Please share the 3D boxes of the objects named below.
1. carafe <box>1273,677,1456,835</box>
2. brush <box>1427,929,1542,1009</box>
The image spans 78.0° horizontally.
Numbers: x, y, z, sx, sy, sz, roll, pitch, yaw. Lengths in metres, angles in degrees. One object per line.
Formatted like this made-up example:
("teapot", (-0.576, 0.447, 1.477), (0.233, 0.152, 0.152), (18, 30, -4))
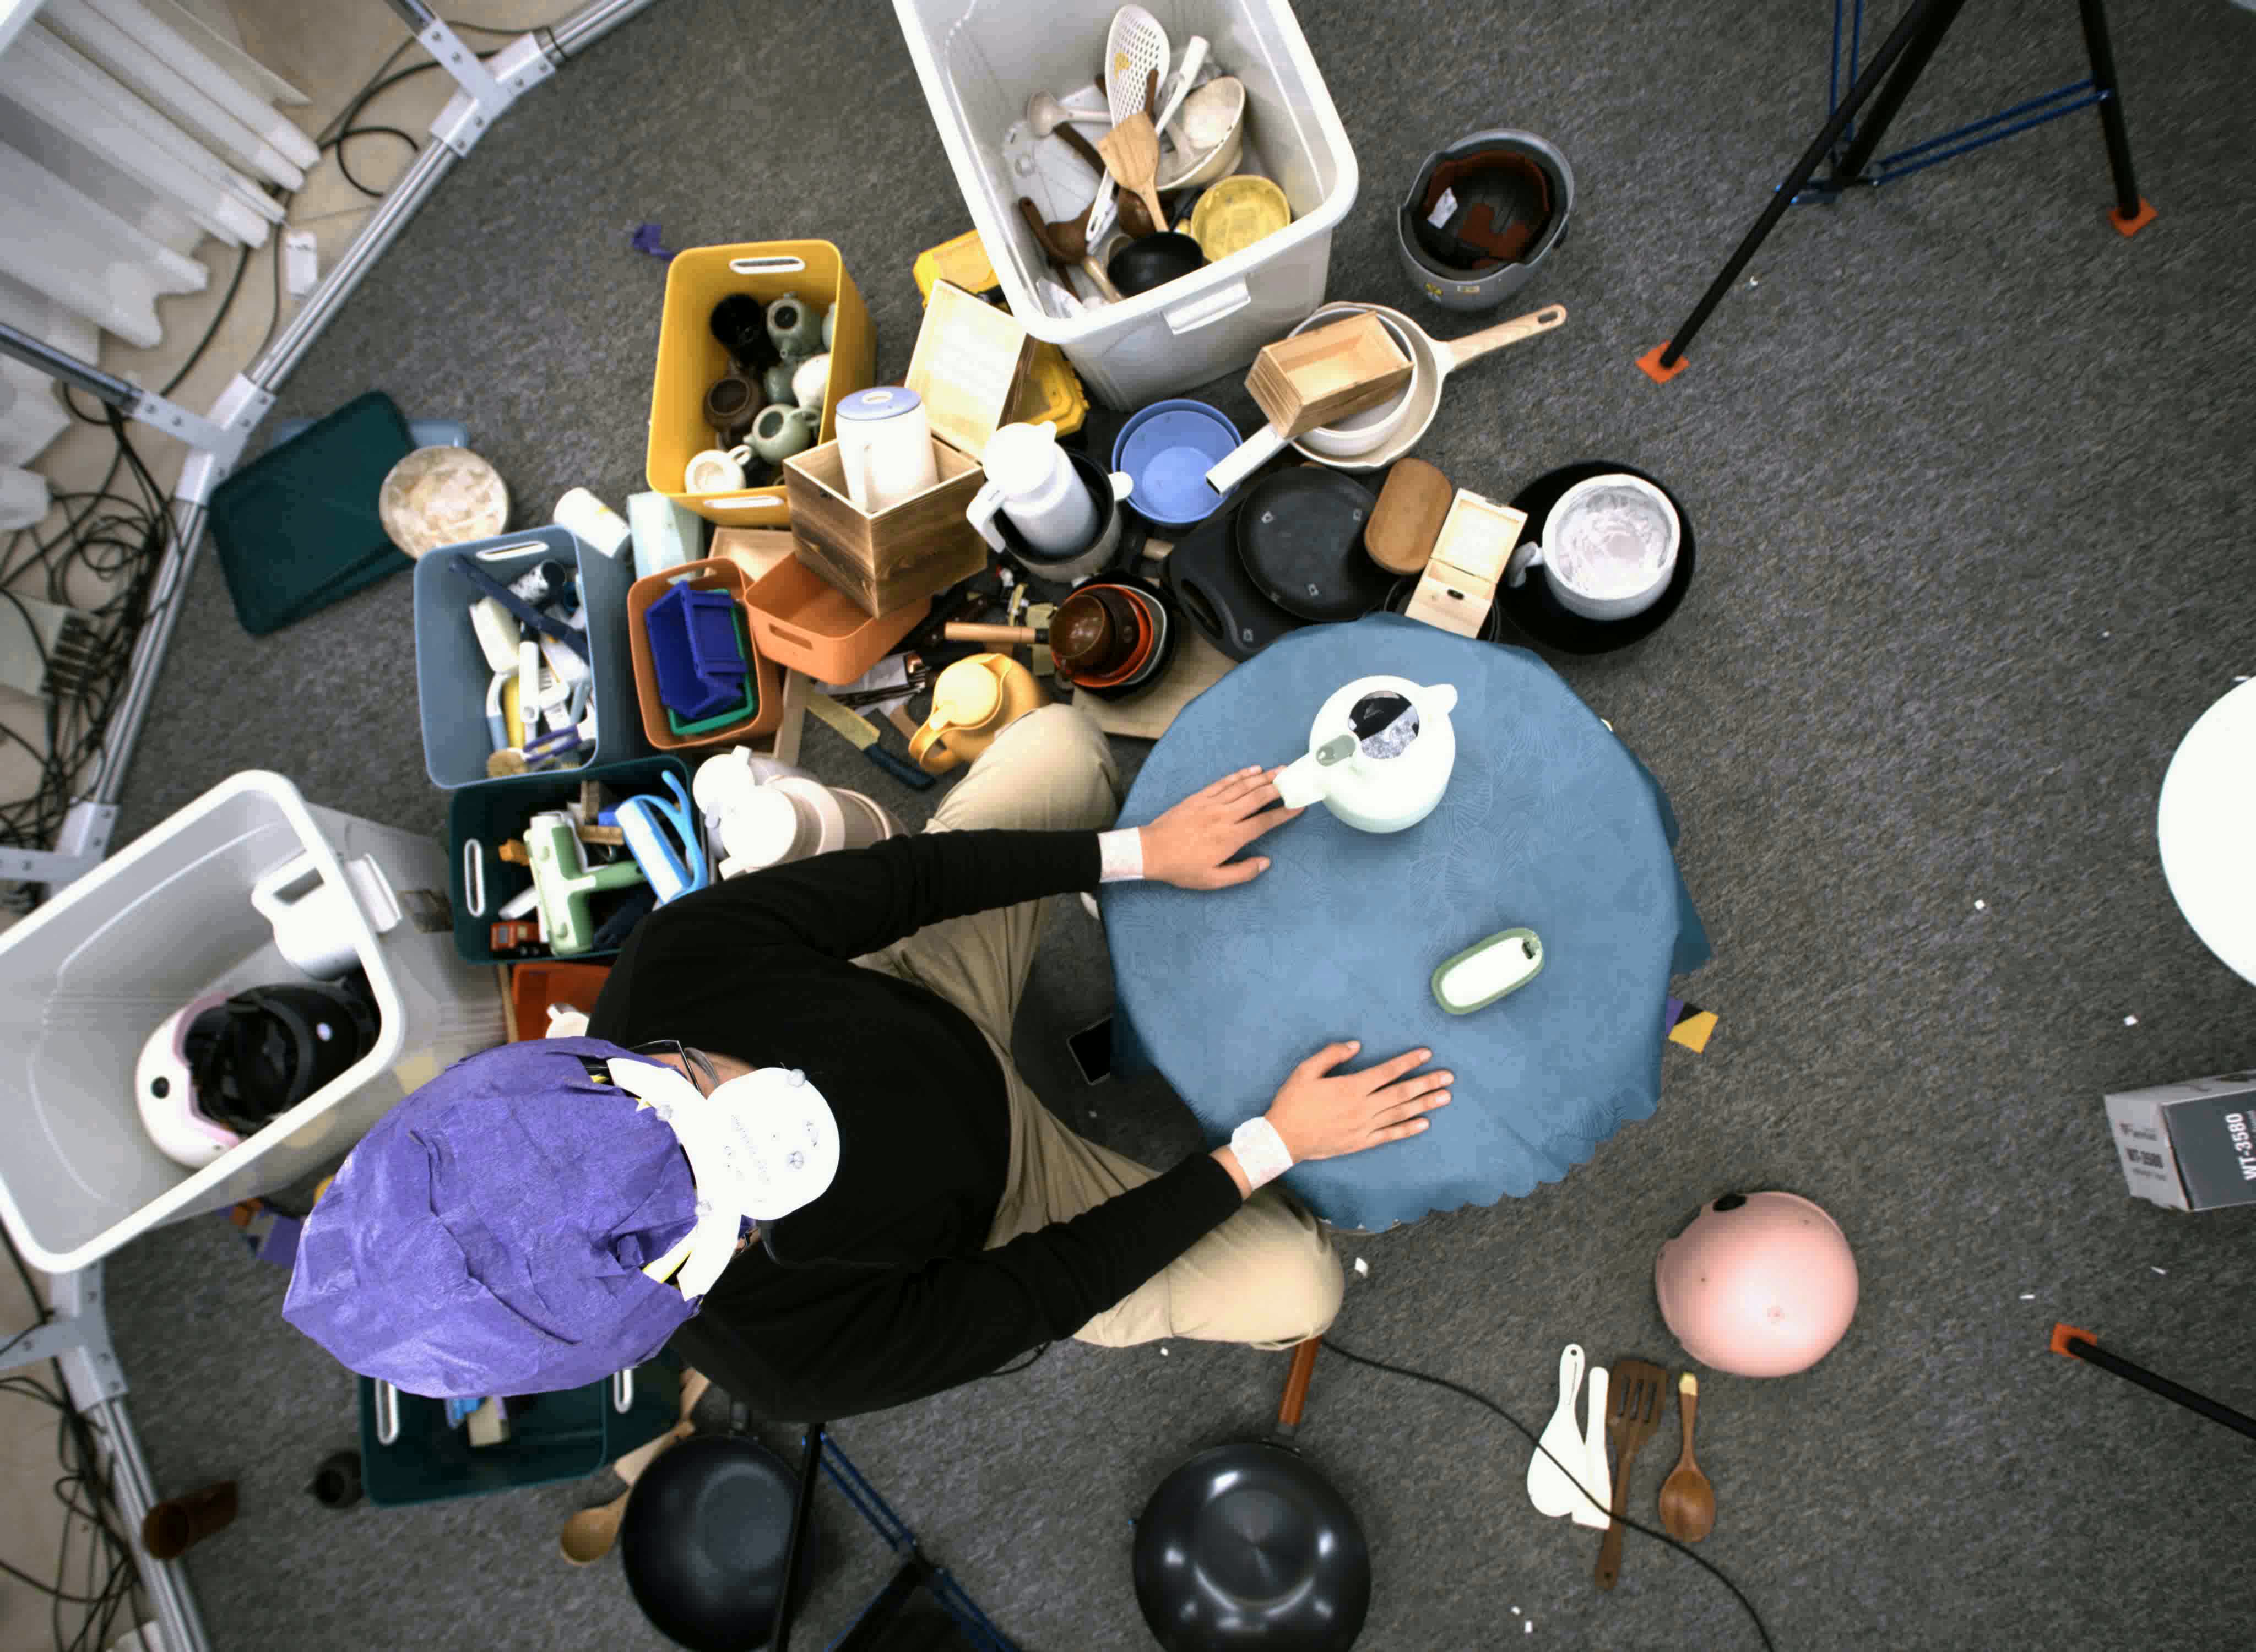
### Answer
("carafe", (0.234, -0.069, 1.344), (0.188, 0.257, 0.143), (-28, 80, 9))
("brush", (0.368, 0.144, 1.415), (0.125, 0.075, 0.059), (-28, 82, 25))
